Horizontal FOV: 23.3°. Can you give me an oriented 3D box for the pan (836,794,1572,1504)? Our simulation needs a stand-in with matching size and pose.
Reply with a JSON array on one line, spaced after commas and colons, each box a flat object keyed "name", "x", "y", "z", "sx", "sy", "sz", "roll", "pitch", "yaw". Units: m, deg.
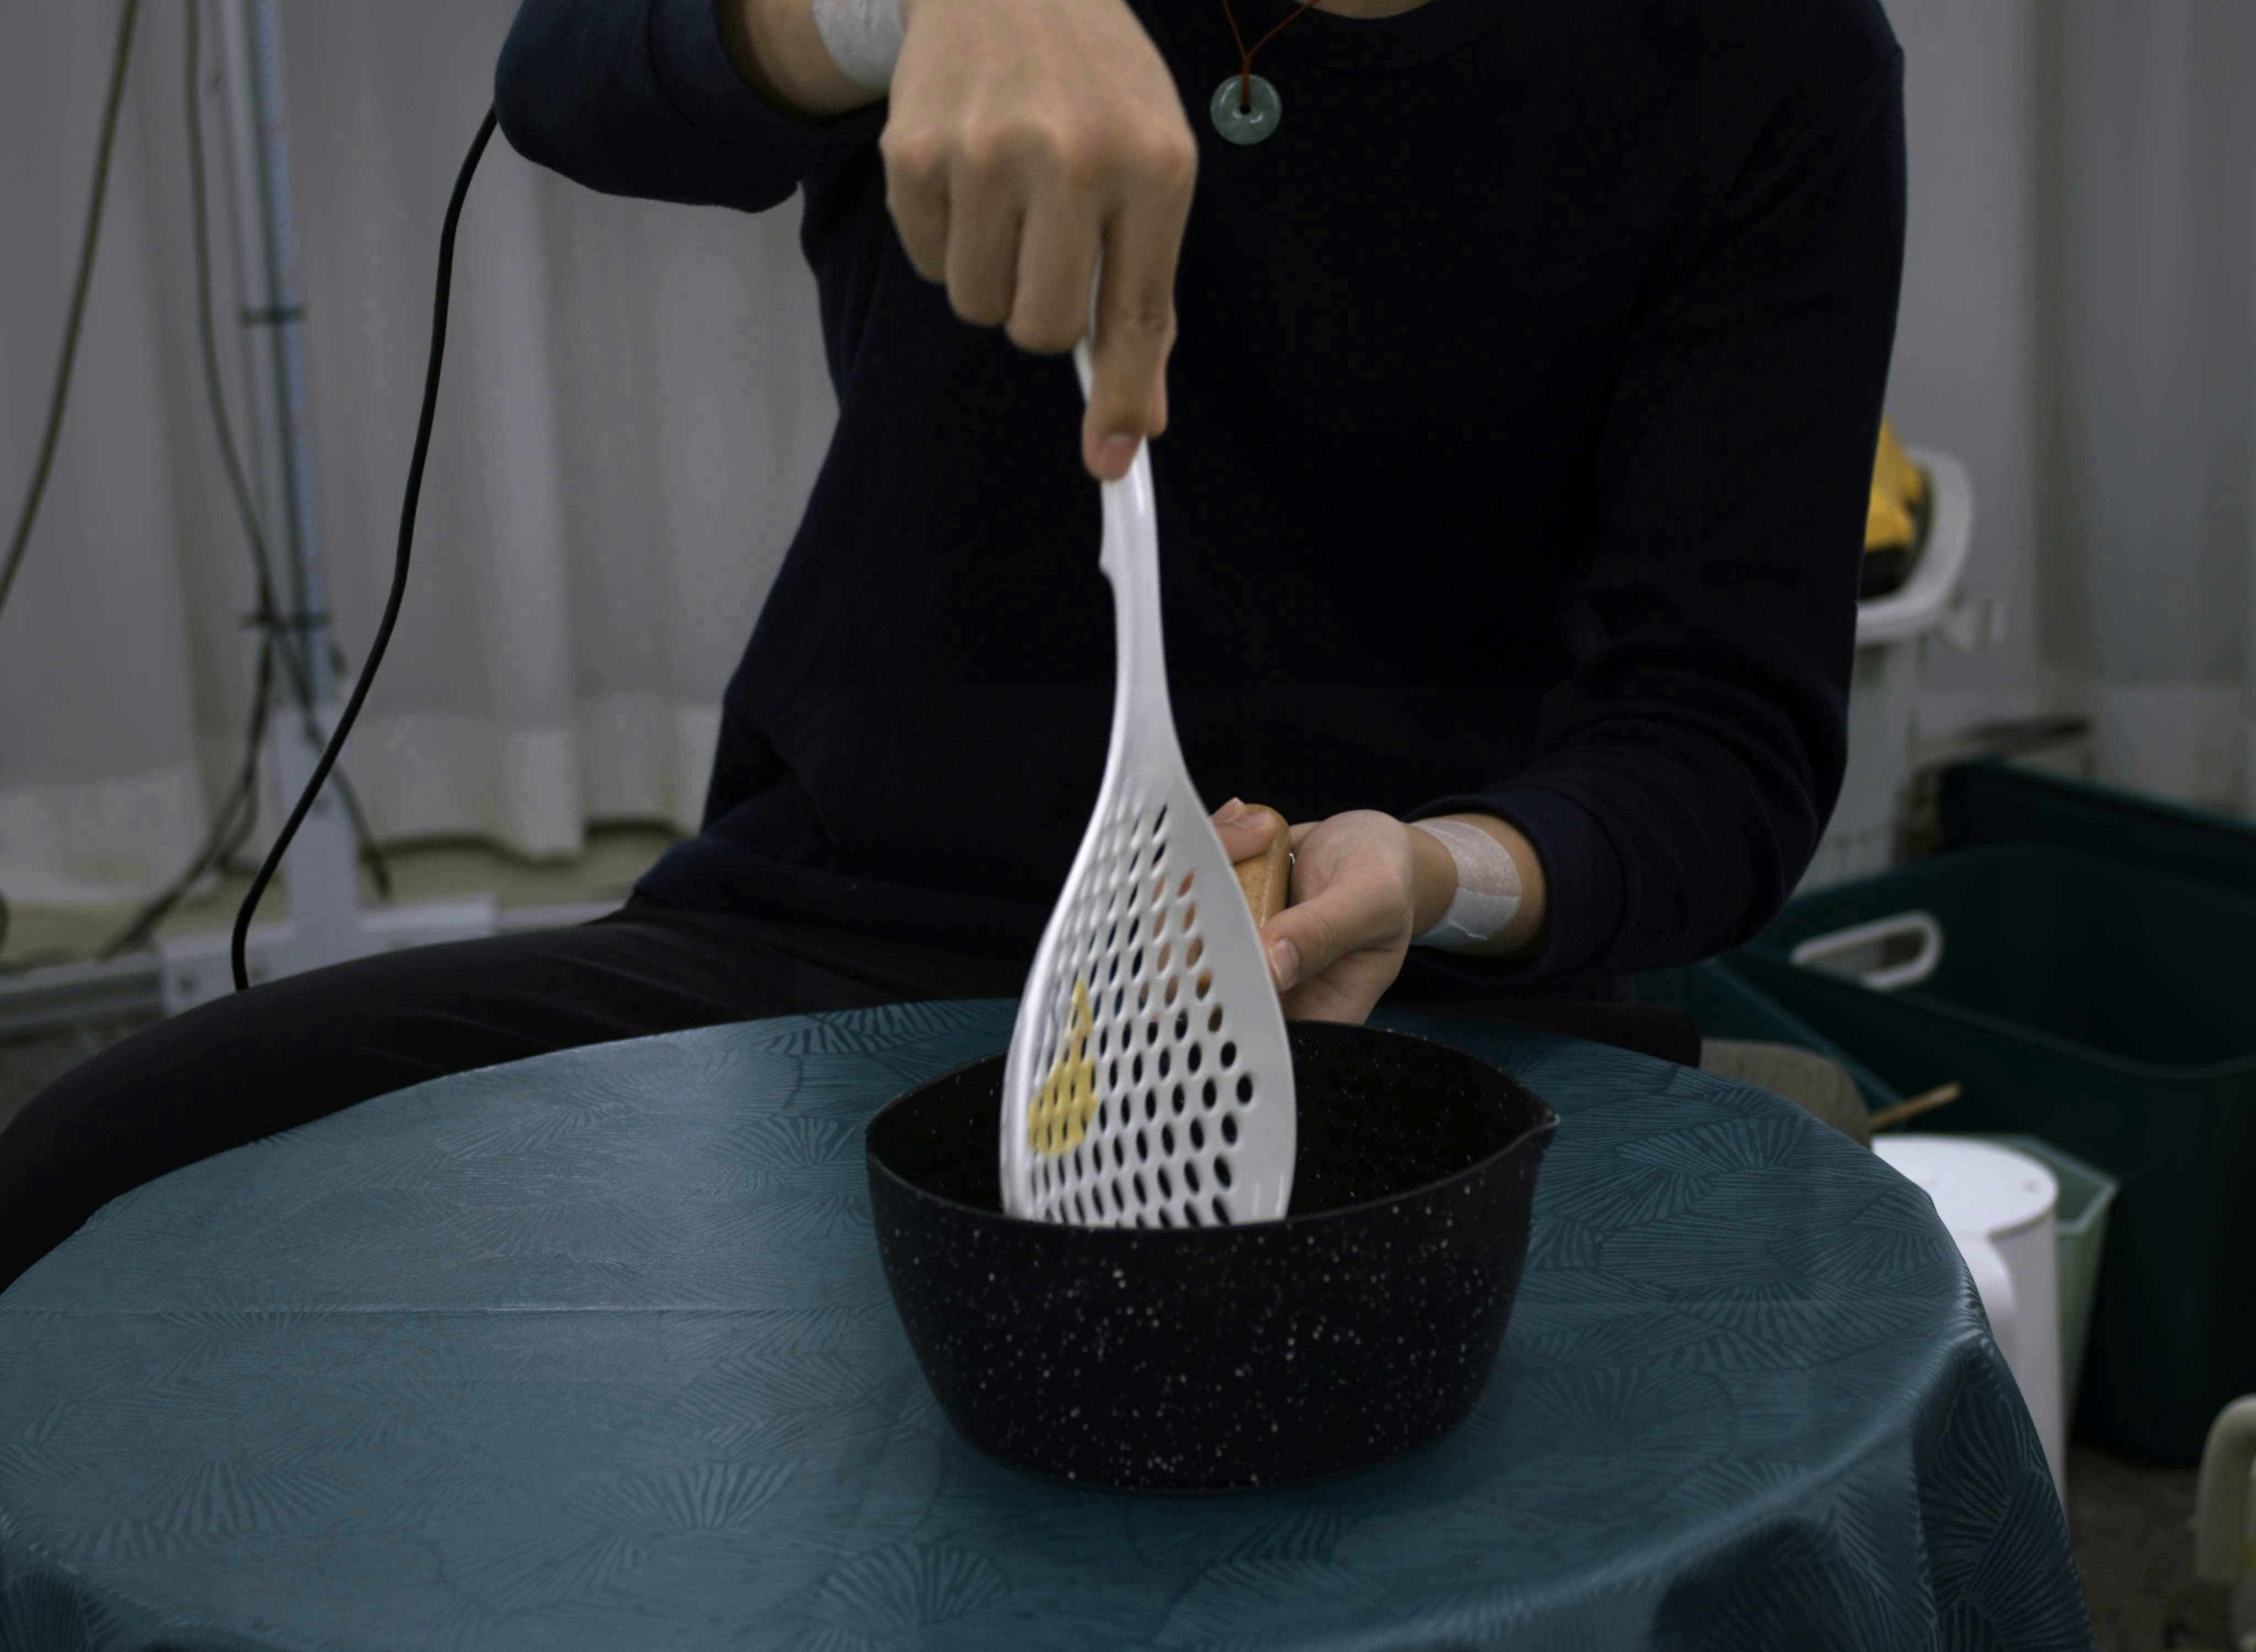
[{"name": "pan", "x": 0.027, "y": 0.089, "z": 1.600, "sx": 0.207, "sy": 0.108, "sz": 0.345, "roll": -3, "pitch": 16, "yaw": 5}]

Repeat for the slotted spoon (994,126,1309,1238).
[{"name": "slotted spoon", "x": -0.007, "y": -0.016, "z": 1.495, "sx": 0.050, "sy": 0.346, "sz": 0.137, "roll": 9, "pitch": 17, "yaw": 34}]
